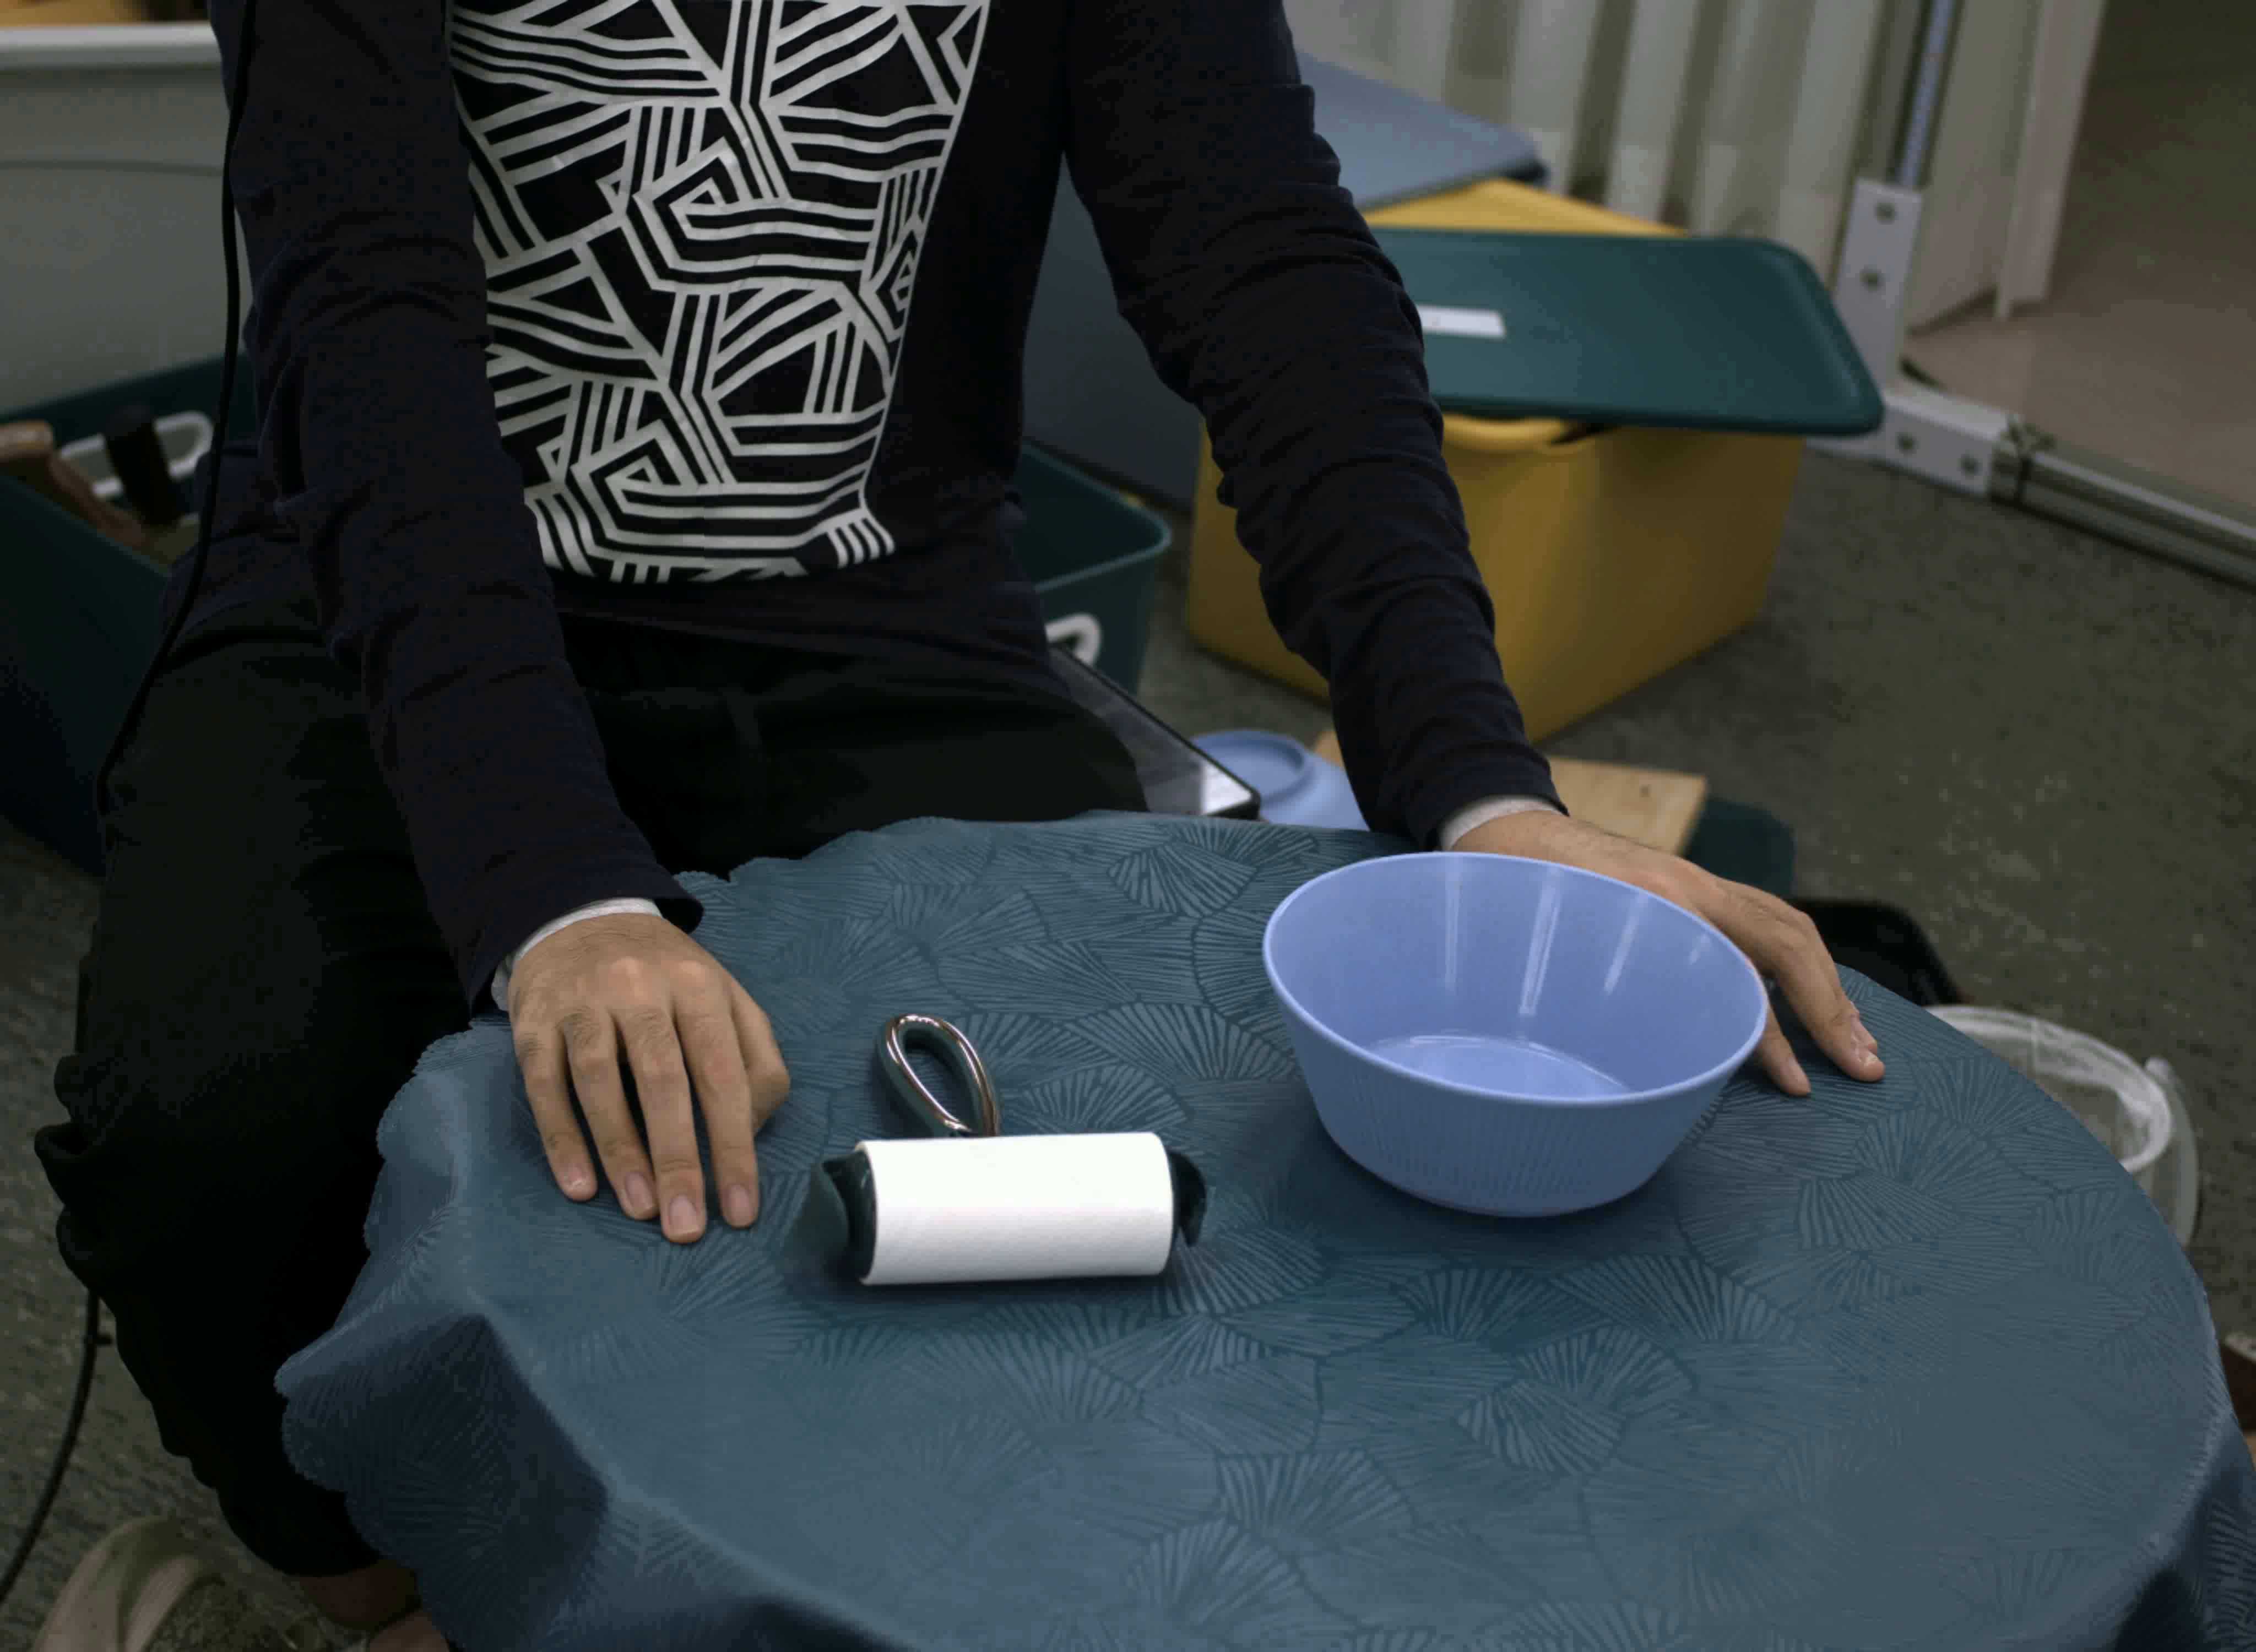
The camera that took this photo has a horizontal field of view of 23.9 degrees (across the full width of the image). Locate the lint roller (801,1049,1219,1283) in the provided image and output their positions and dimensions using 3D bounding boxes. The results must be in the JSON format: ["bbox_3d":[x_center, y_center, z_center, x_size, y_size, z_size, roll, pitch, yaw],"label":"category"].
[{"bbox_3d":[-0.057,0.098,1.801,0.133,0.048,0.181,-1,24,-15],"label":"lint roller"}]

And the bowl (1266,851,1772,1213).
[{"bbox_3d":[0.131,0.078,1.846,0.175,0.070,0.177,5,27,-3],"label":"bowl"}]
